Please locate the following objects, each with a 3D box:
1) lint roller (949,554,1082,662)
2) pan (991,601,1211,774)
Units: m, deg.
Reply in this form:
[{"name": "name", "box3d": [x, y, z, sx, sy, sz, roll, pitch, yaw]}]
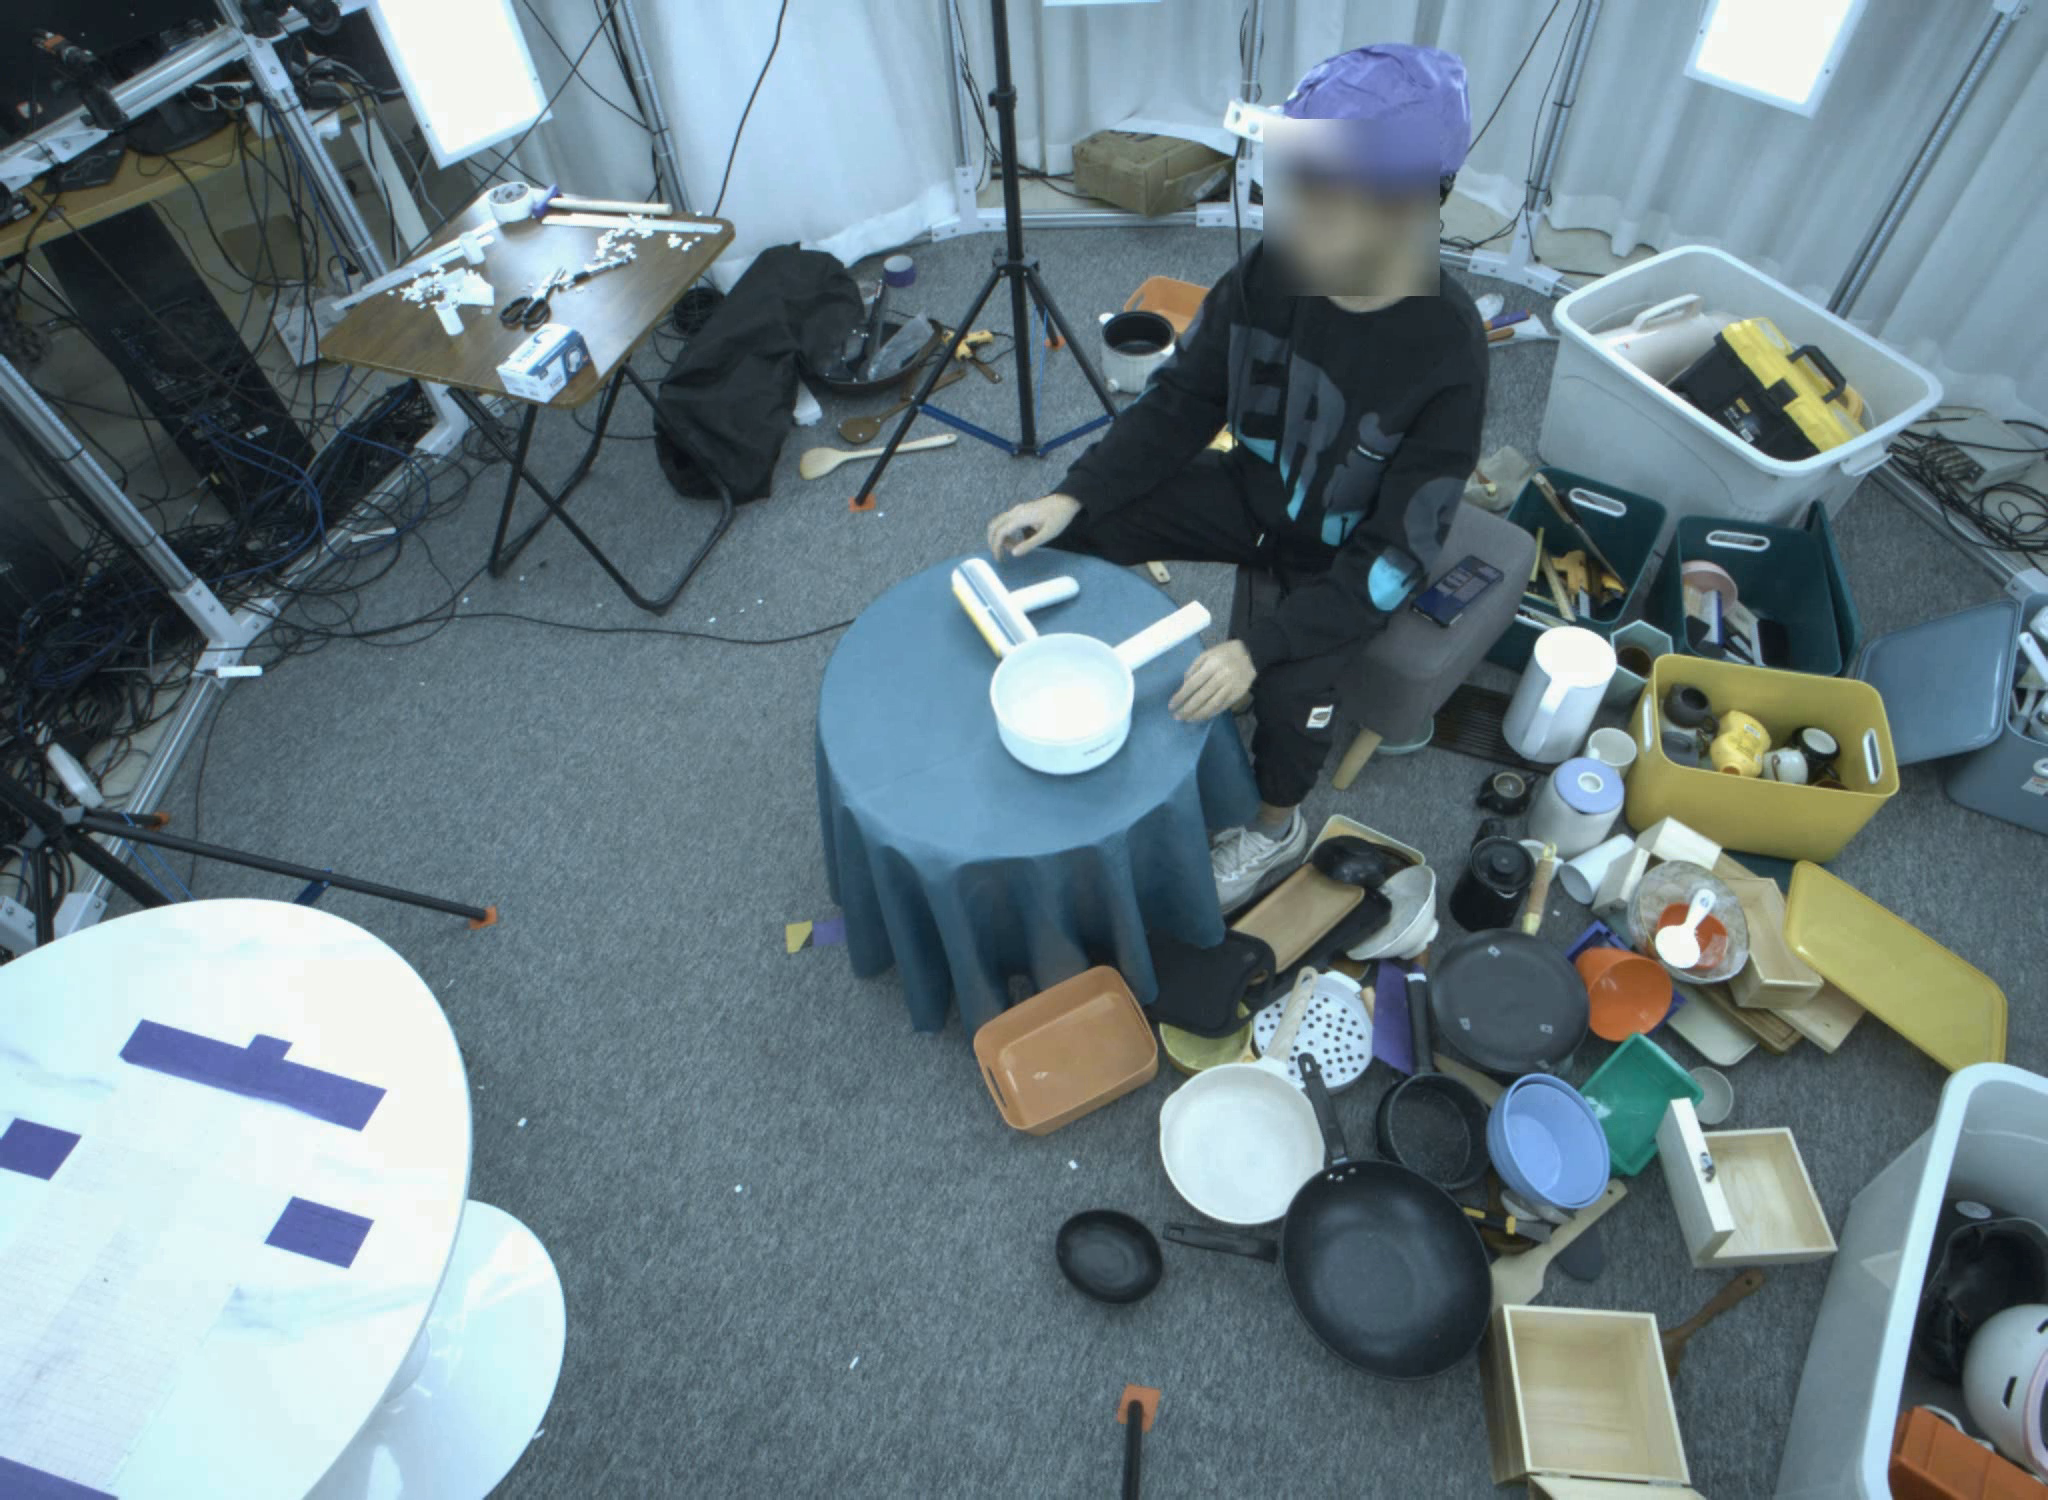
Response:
[{"name": "lint roller", "box3d": [0.003, -0.237, 1.909, 0.194, 0.075, 0.189, -24, 62, -16]}, {"name": "pan", "box3d": [0.119, -0.099, 1.786, 0.357, 0.103, 0.197, -31, 58, -19]}]
